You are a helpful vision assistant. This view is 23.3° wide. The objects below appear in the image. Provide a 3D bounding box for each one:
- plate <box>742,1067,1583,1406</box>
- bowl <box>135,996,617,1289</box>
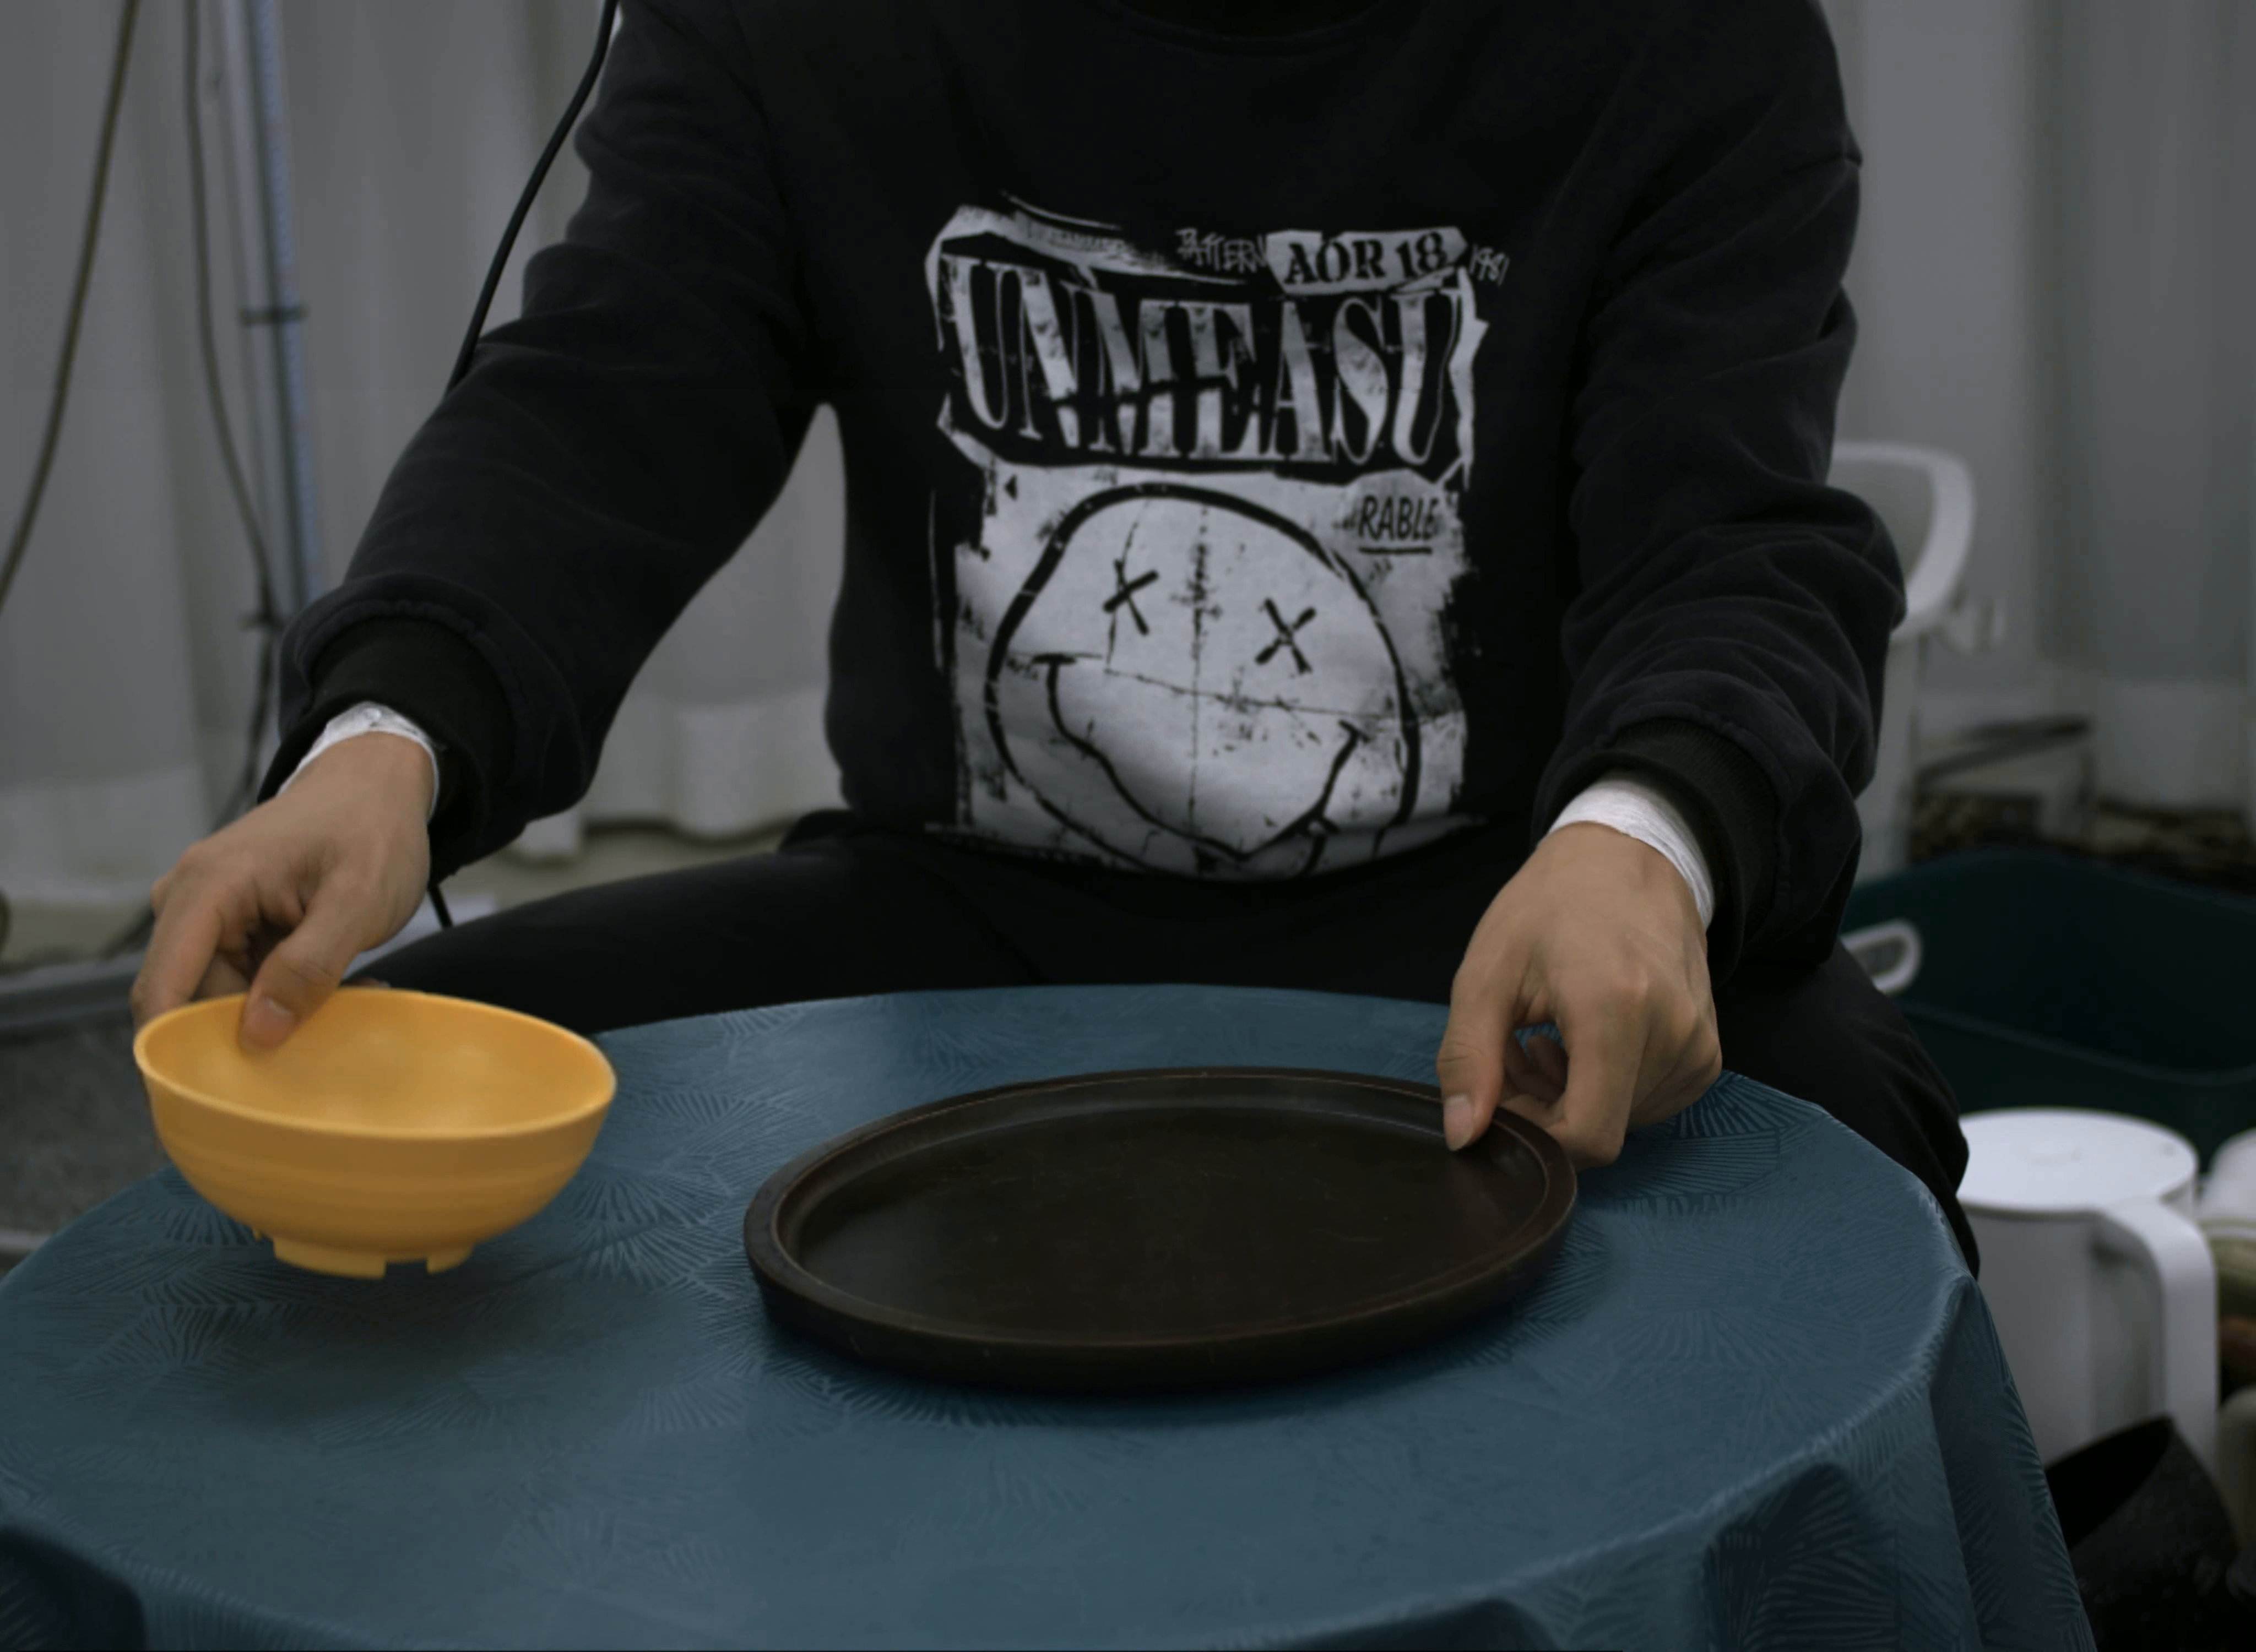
[{"bbox_3d":[0.011,0.121,1.643,0.254,0.029,0.256,-5,14,1],"label":"plate"},{"bbox_3d":[-0.228,0.100,1.645,0.145,0.060,0.146,7,13,-2],"label":"bowl"}]
